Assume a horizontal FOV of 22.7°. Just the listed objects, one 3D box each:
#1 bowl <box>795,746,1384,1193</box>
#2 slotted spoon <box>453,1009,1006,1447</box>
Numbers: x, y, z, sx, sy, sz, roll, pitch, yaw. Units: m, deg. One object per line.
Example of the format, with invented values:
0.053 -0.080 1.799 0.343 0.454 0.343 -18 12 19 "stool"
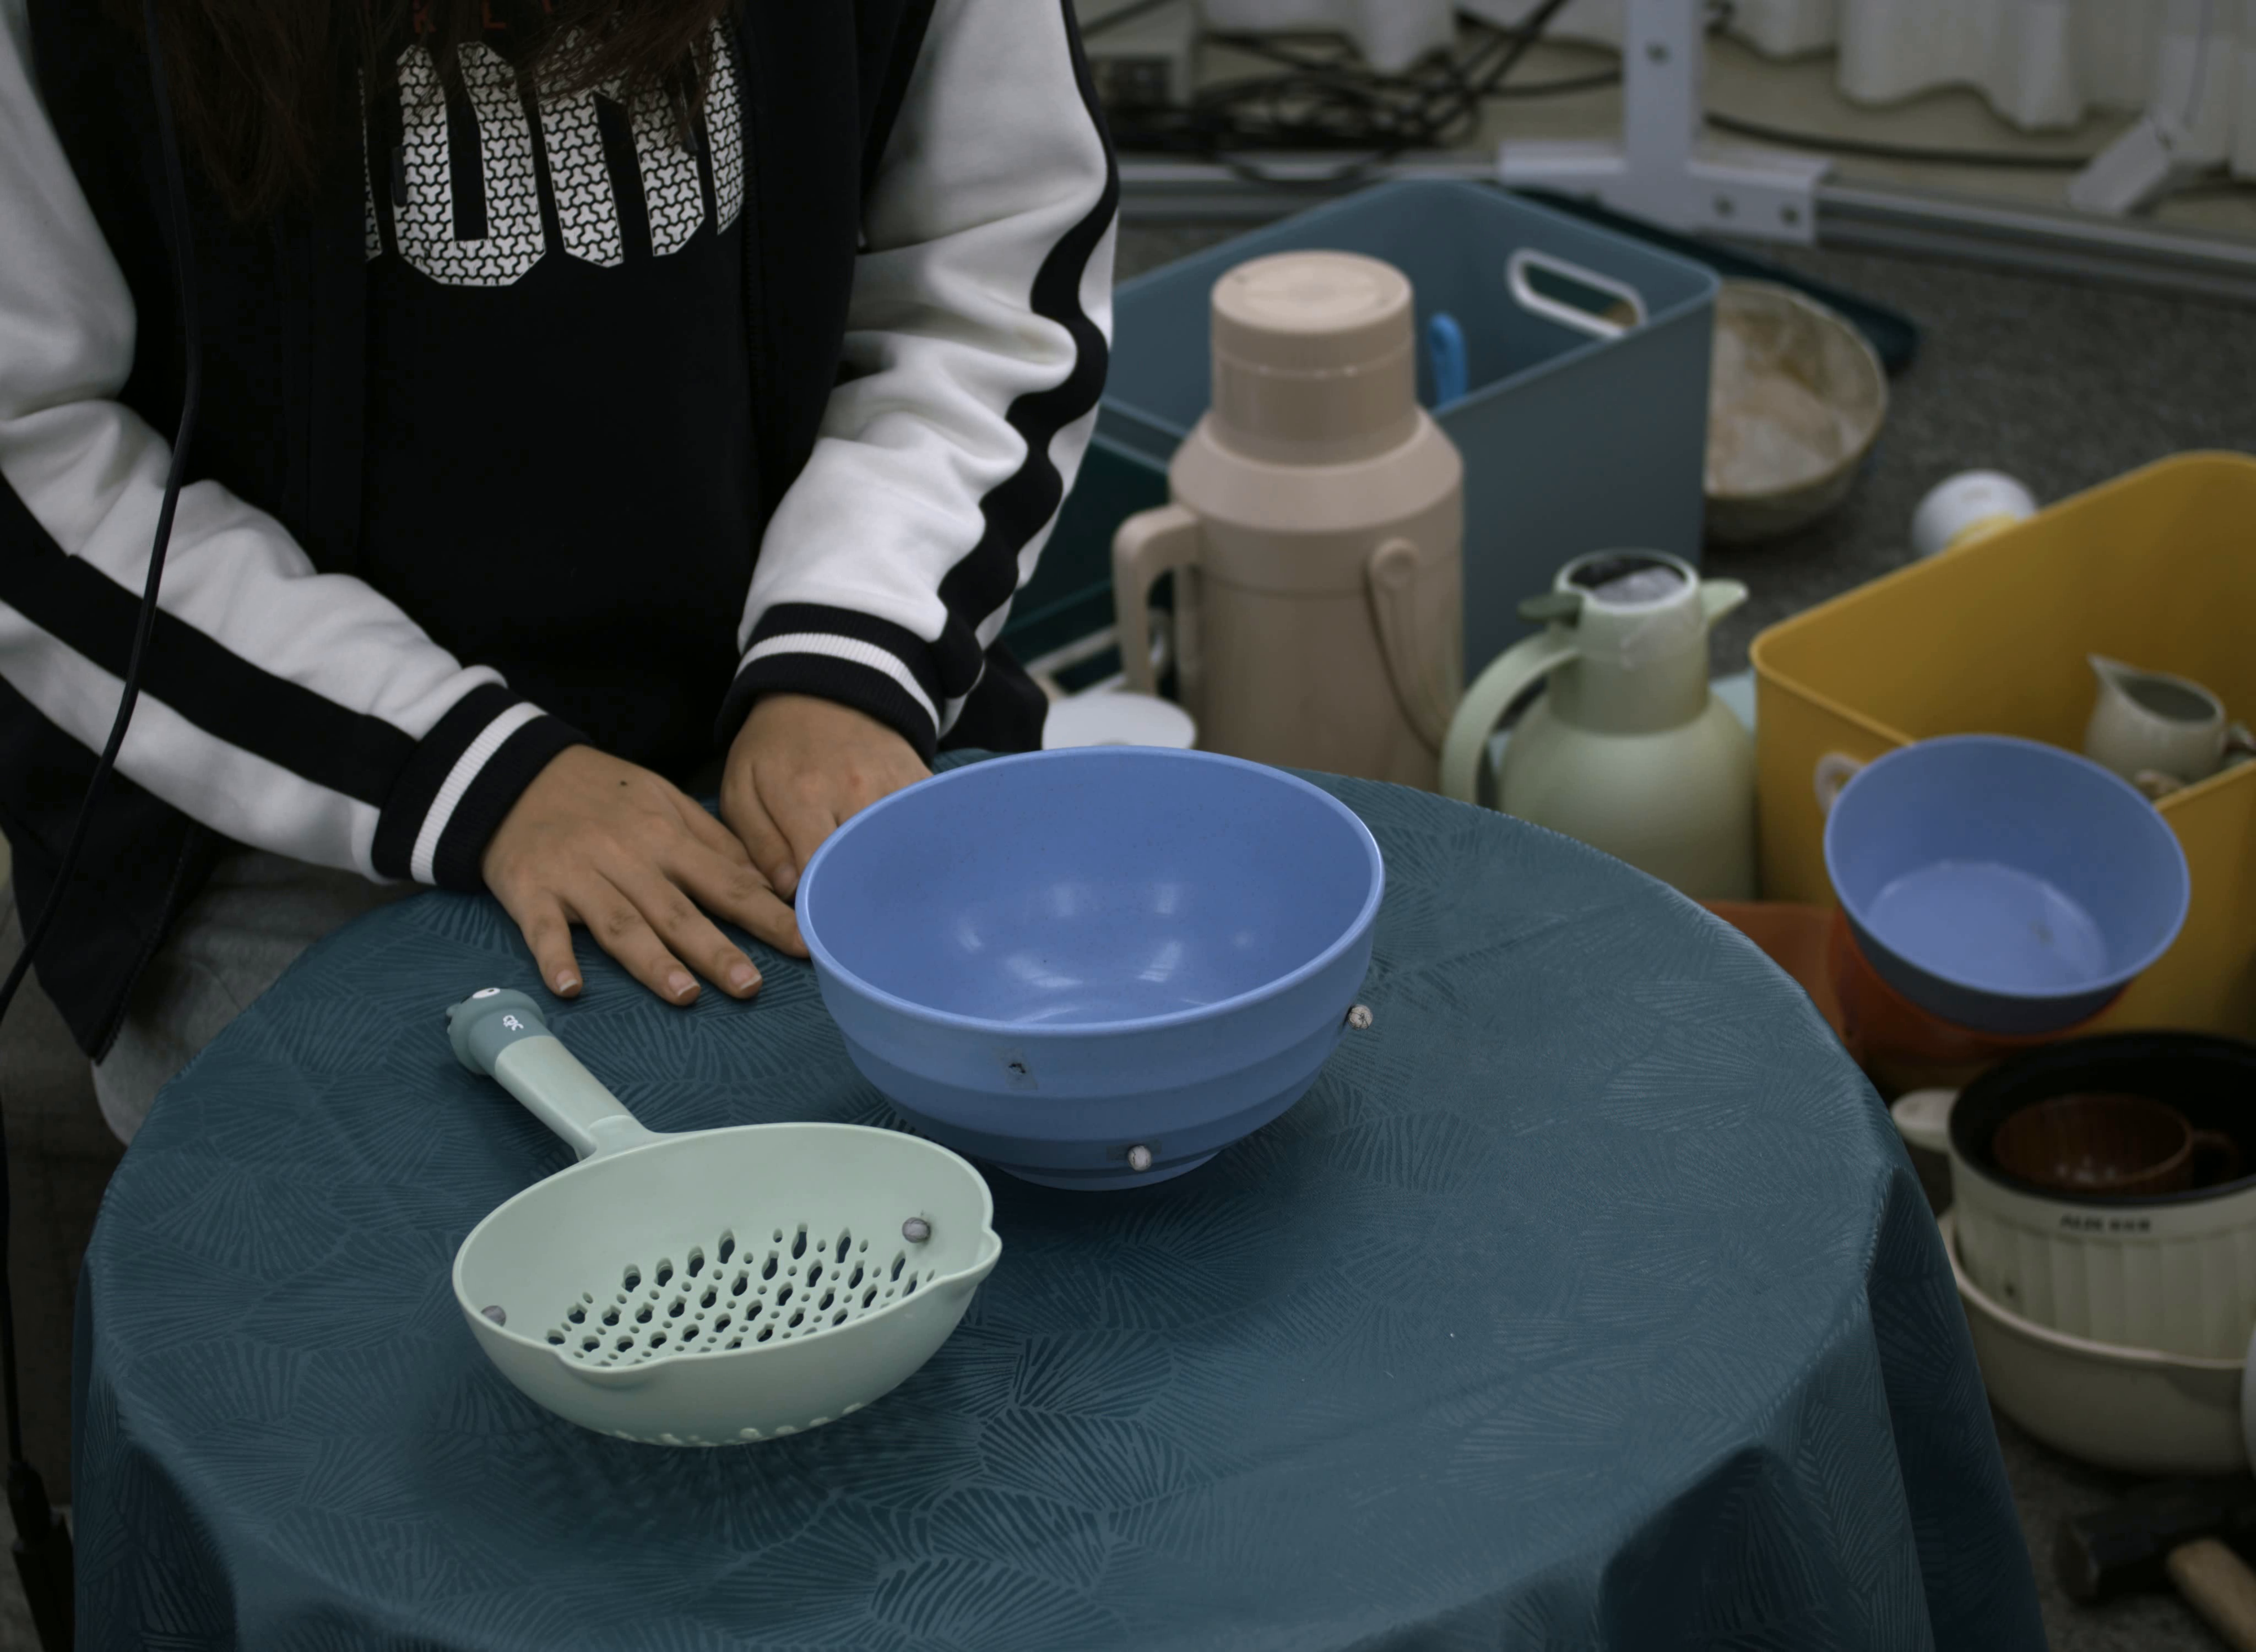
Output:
-0.010 0.059 1.881 0.195 0.094 0.199 -3 27 2 "bowl"
-0.162 0.114 1.829 0.170 0.074 0.361 -13 27 -21 "slotted spoon"
